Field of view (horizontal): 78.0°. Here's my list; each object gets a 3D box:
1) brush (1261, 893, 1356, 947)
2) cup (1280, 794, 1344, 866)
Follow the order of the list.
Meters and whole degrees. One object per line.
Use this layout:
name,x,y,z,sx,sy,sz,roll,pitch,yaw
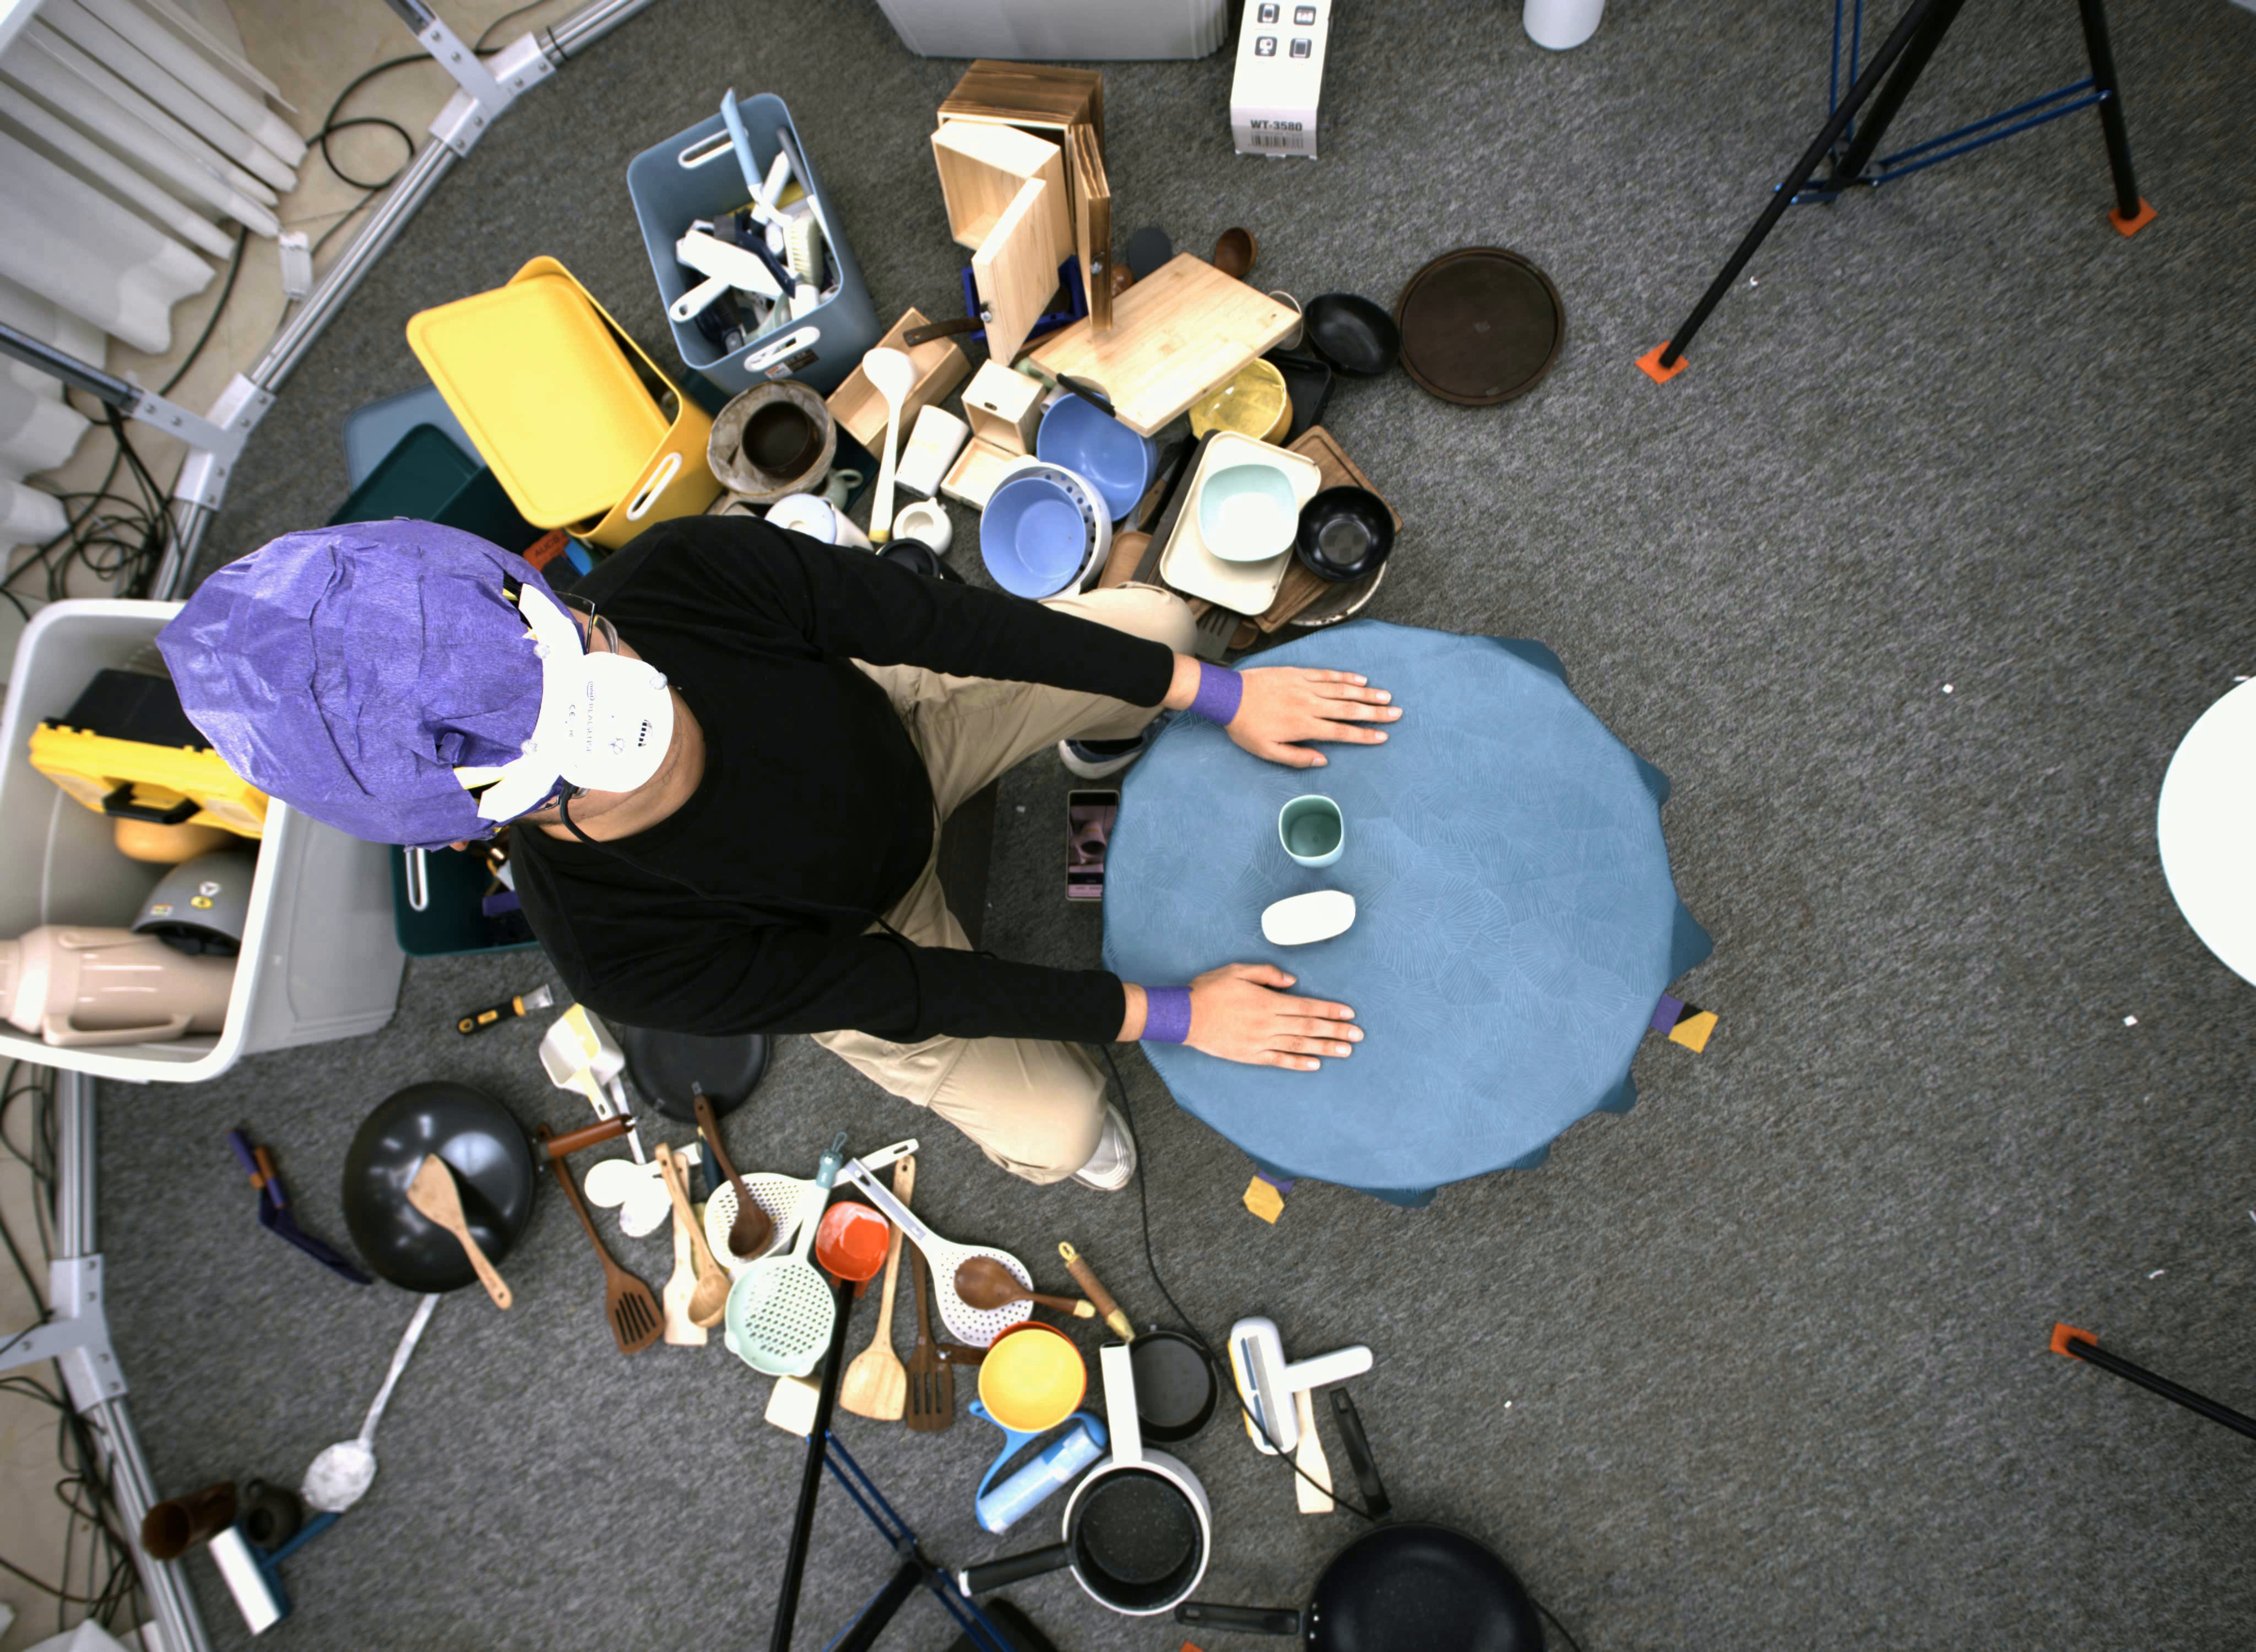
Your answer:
brush,0.186,0.096,1.435,0.099,0.073,0.050,-11,81,8
cup,0.190,0.007,1.415,0.067,0.132,0.066,-1,85,9
